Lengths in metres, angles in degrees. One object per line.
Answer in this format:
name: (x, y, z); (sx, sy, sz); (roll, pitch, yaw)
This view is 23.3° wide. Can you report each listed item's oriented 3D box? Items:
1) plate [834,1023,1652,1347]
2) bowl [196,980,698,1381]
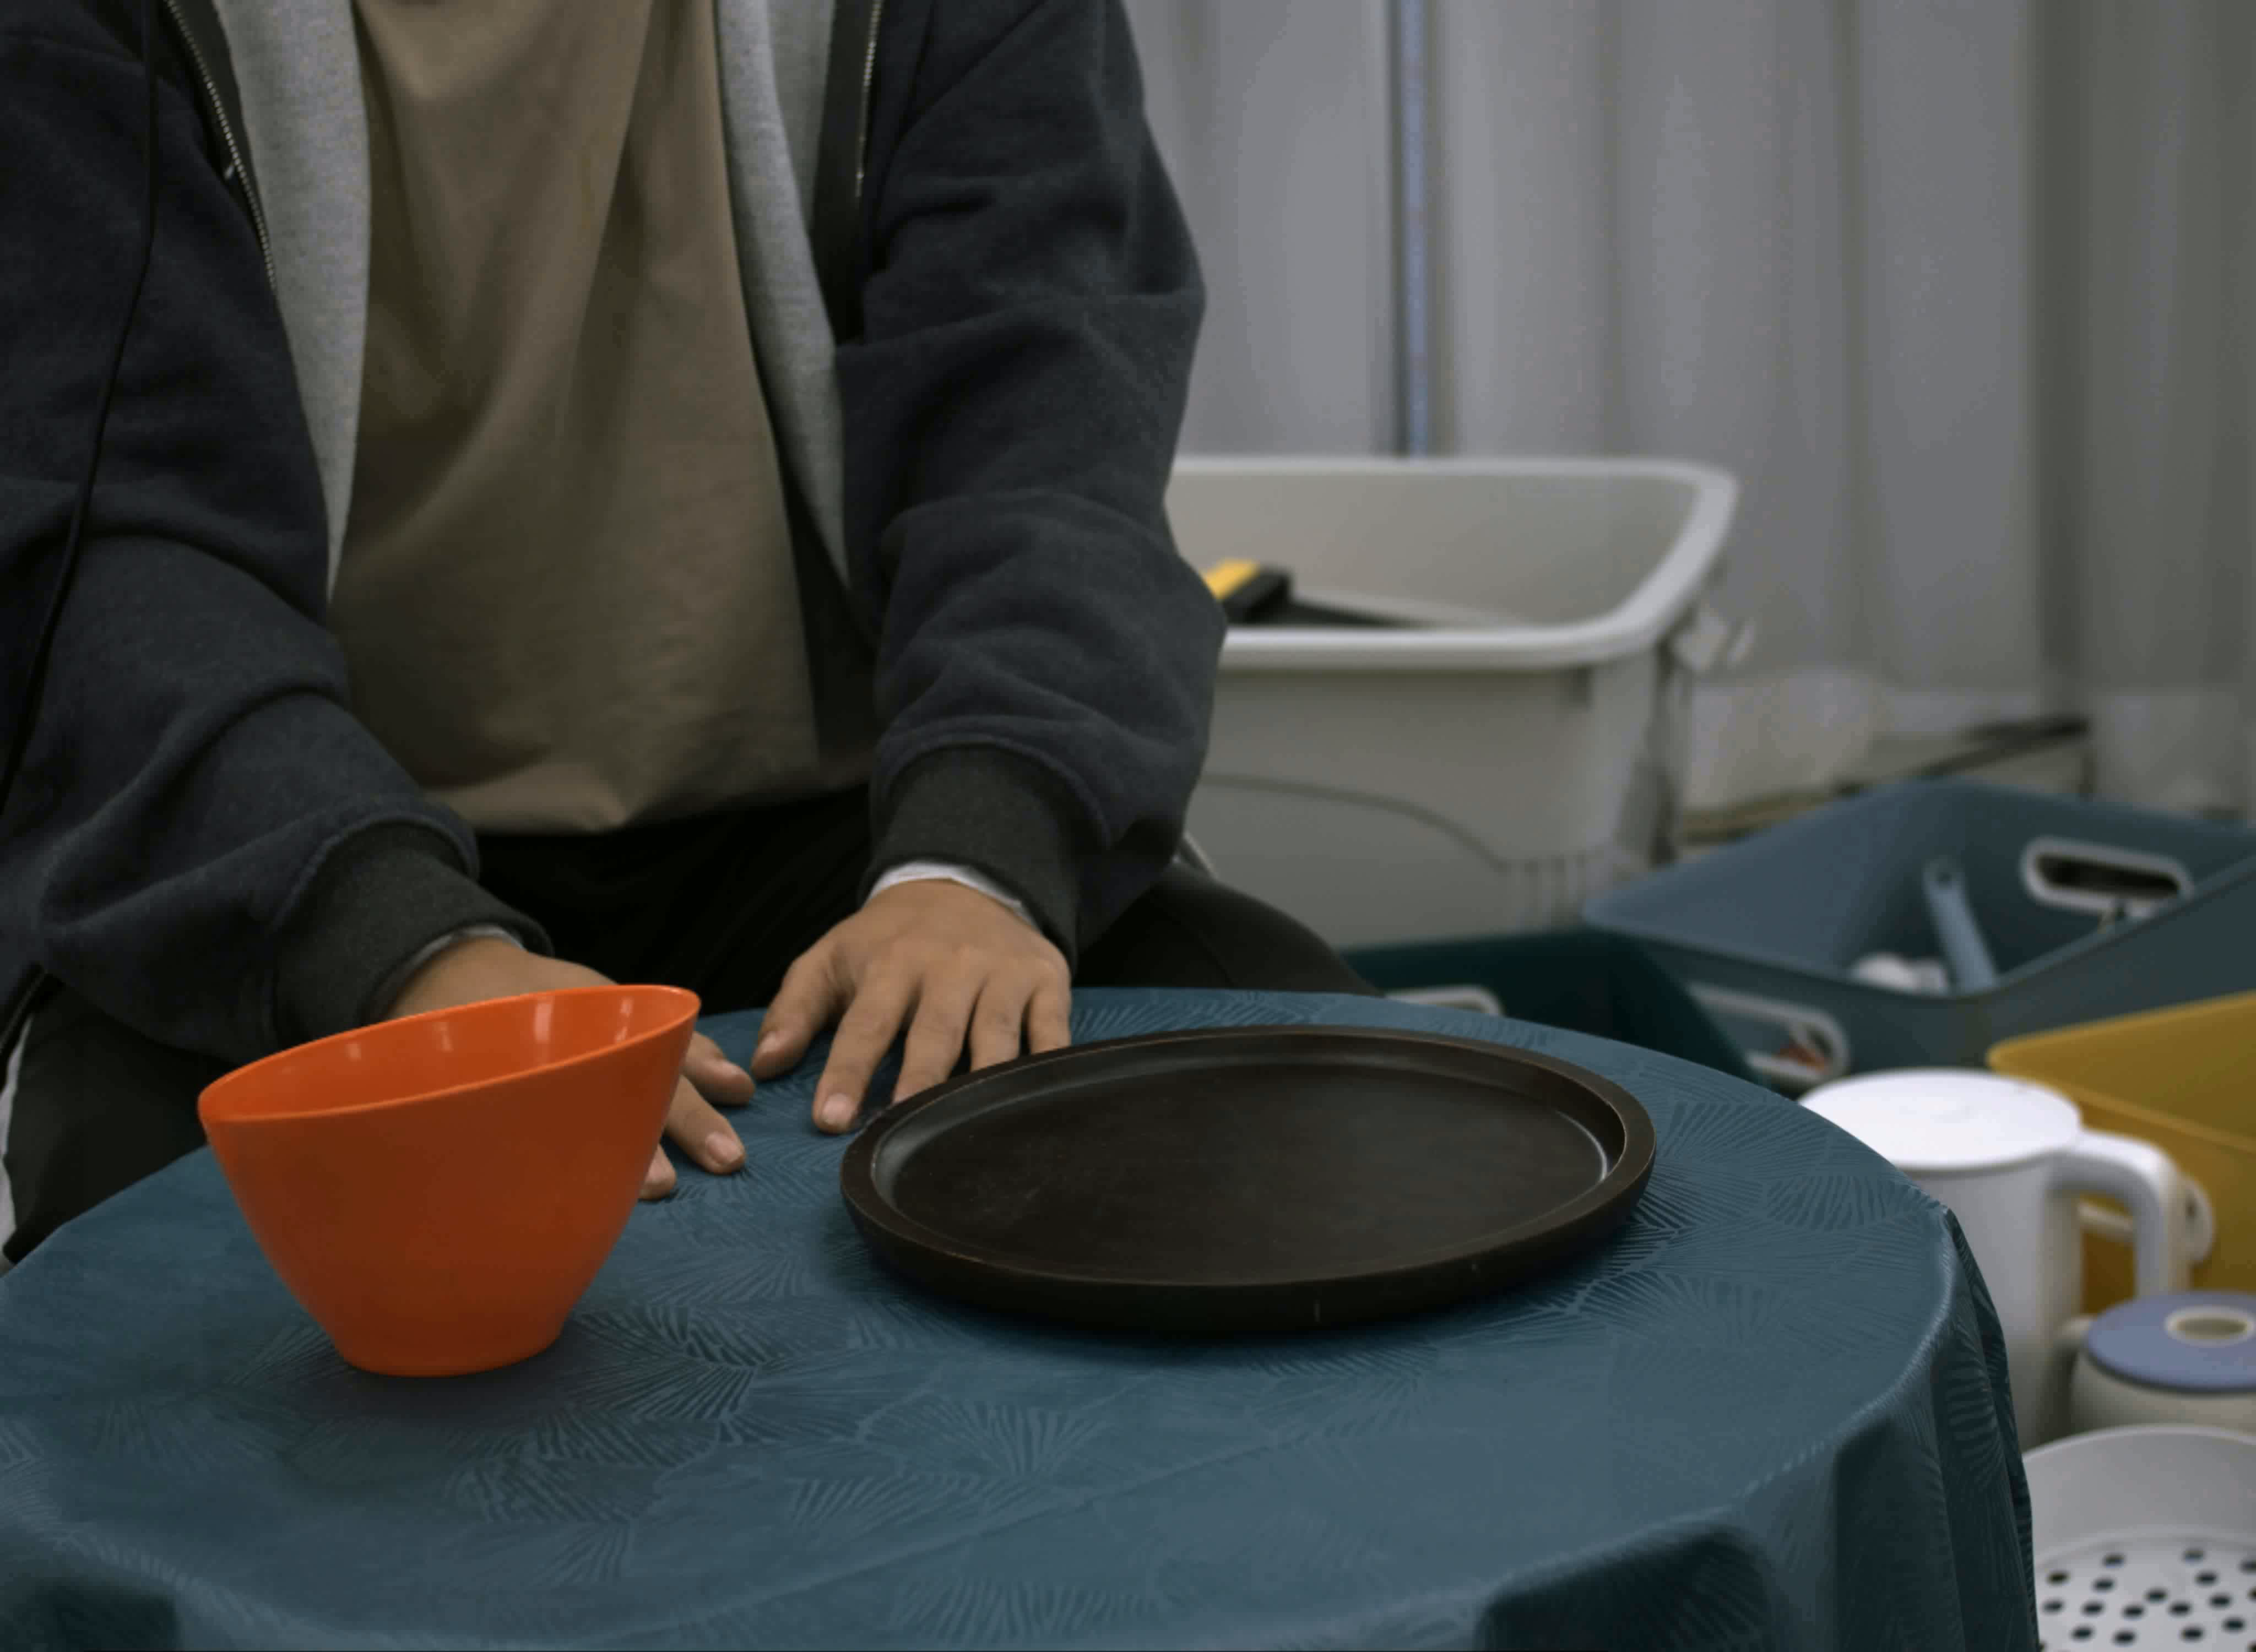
plate: (0.036, 0.108, 1.689); (0.254, 0.029, 0.256); (-4, 15, 1)
bowl: (-0.195, 0.104, 1.597); (0.147, 0.104, 0.149); (-4, 16, 1)
